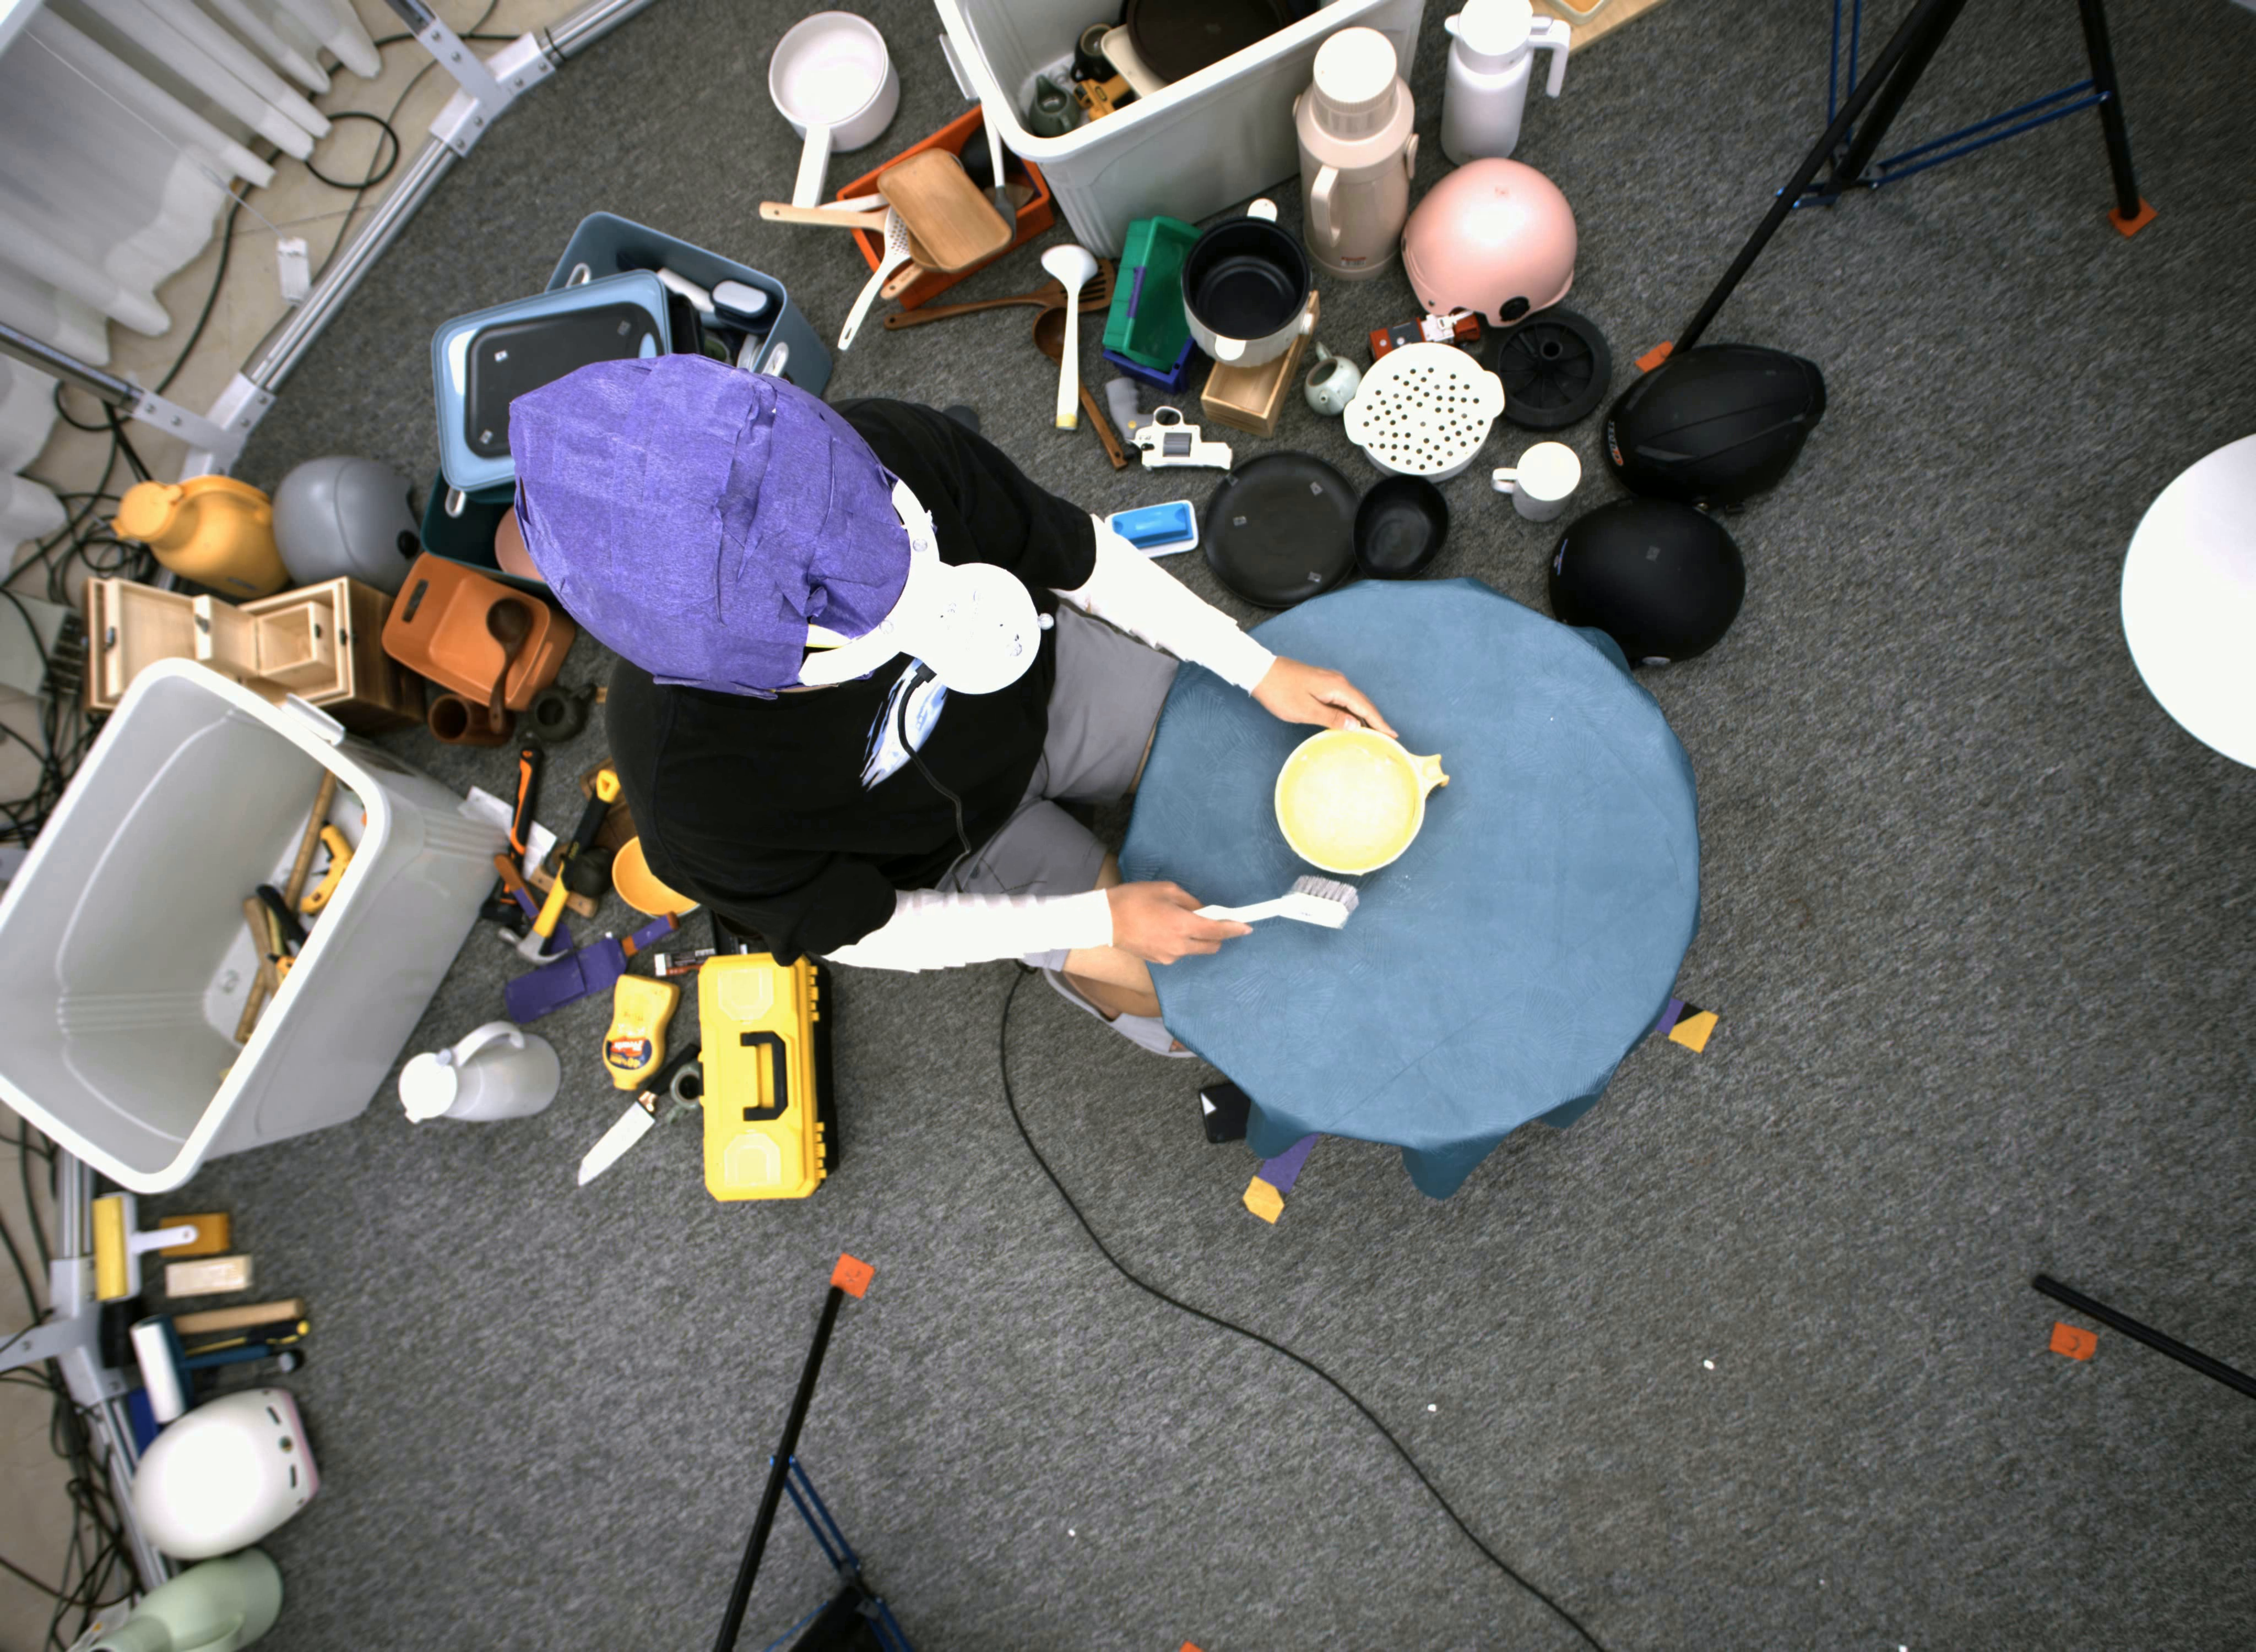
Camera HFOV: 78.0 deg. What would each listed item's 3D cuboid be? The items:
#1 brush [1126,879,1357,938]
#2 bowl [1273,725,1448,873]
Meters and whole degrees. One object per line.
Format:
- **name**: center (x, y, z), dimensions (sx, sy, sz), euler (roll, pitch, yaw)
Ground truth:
- **brush**: center (0.116, 0.086, 1.439), dimensions (0.245, 0.035, 0.049), euler (-5, 54, 22)
- **bowl**: center (0.243, -0.028, 1.434), dimensions (0.180, 0.074, 0.151), euler (-23, 78, 8)
